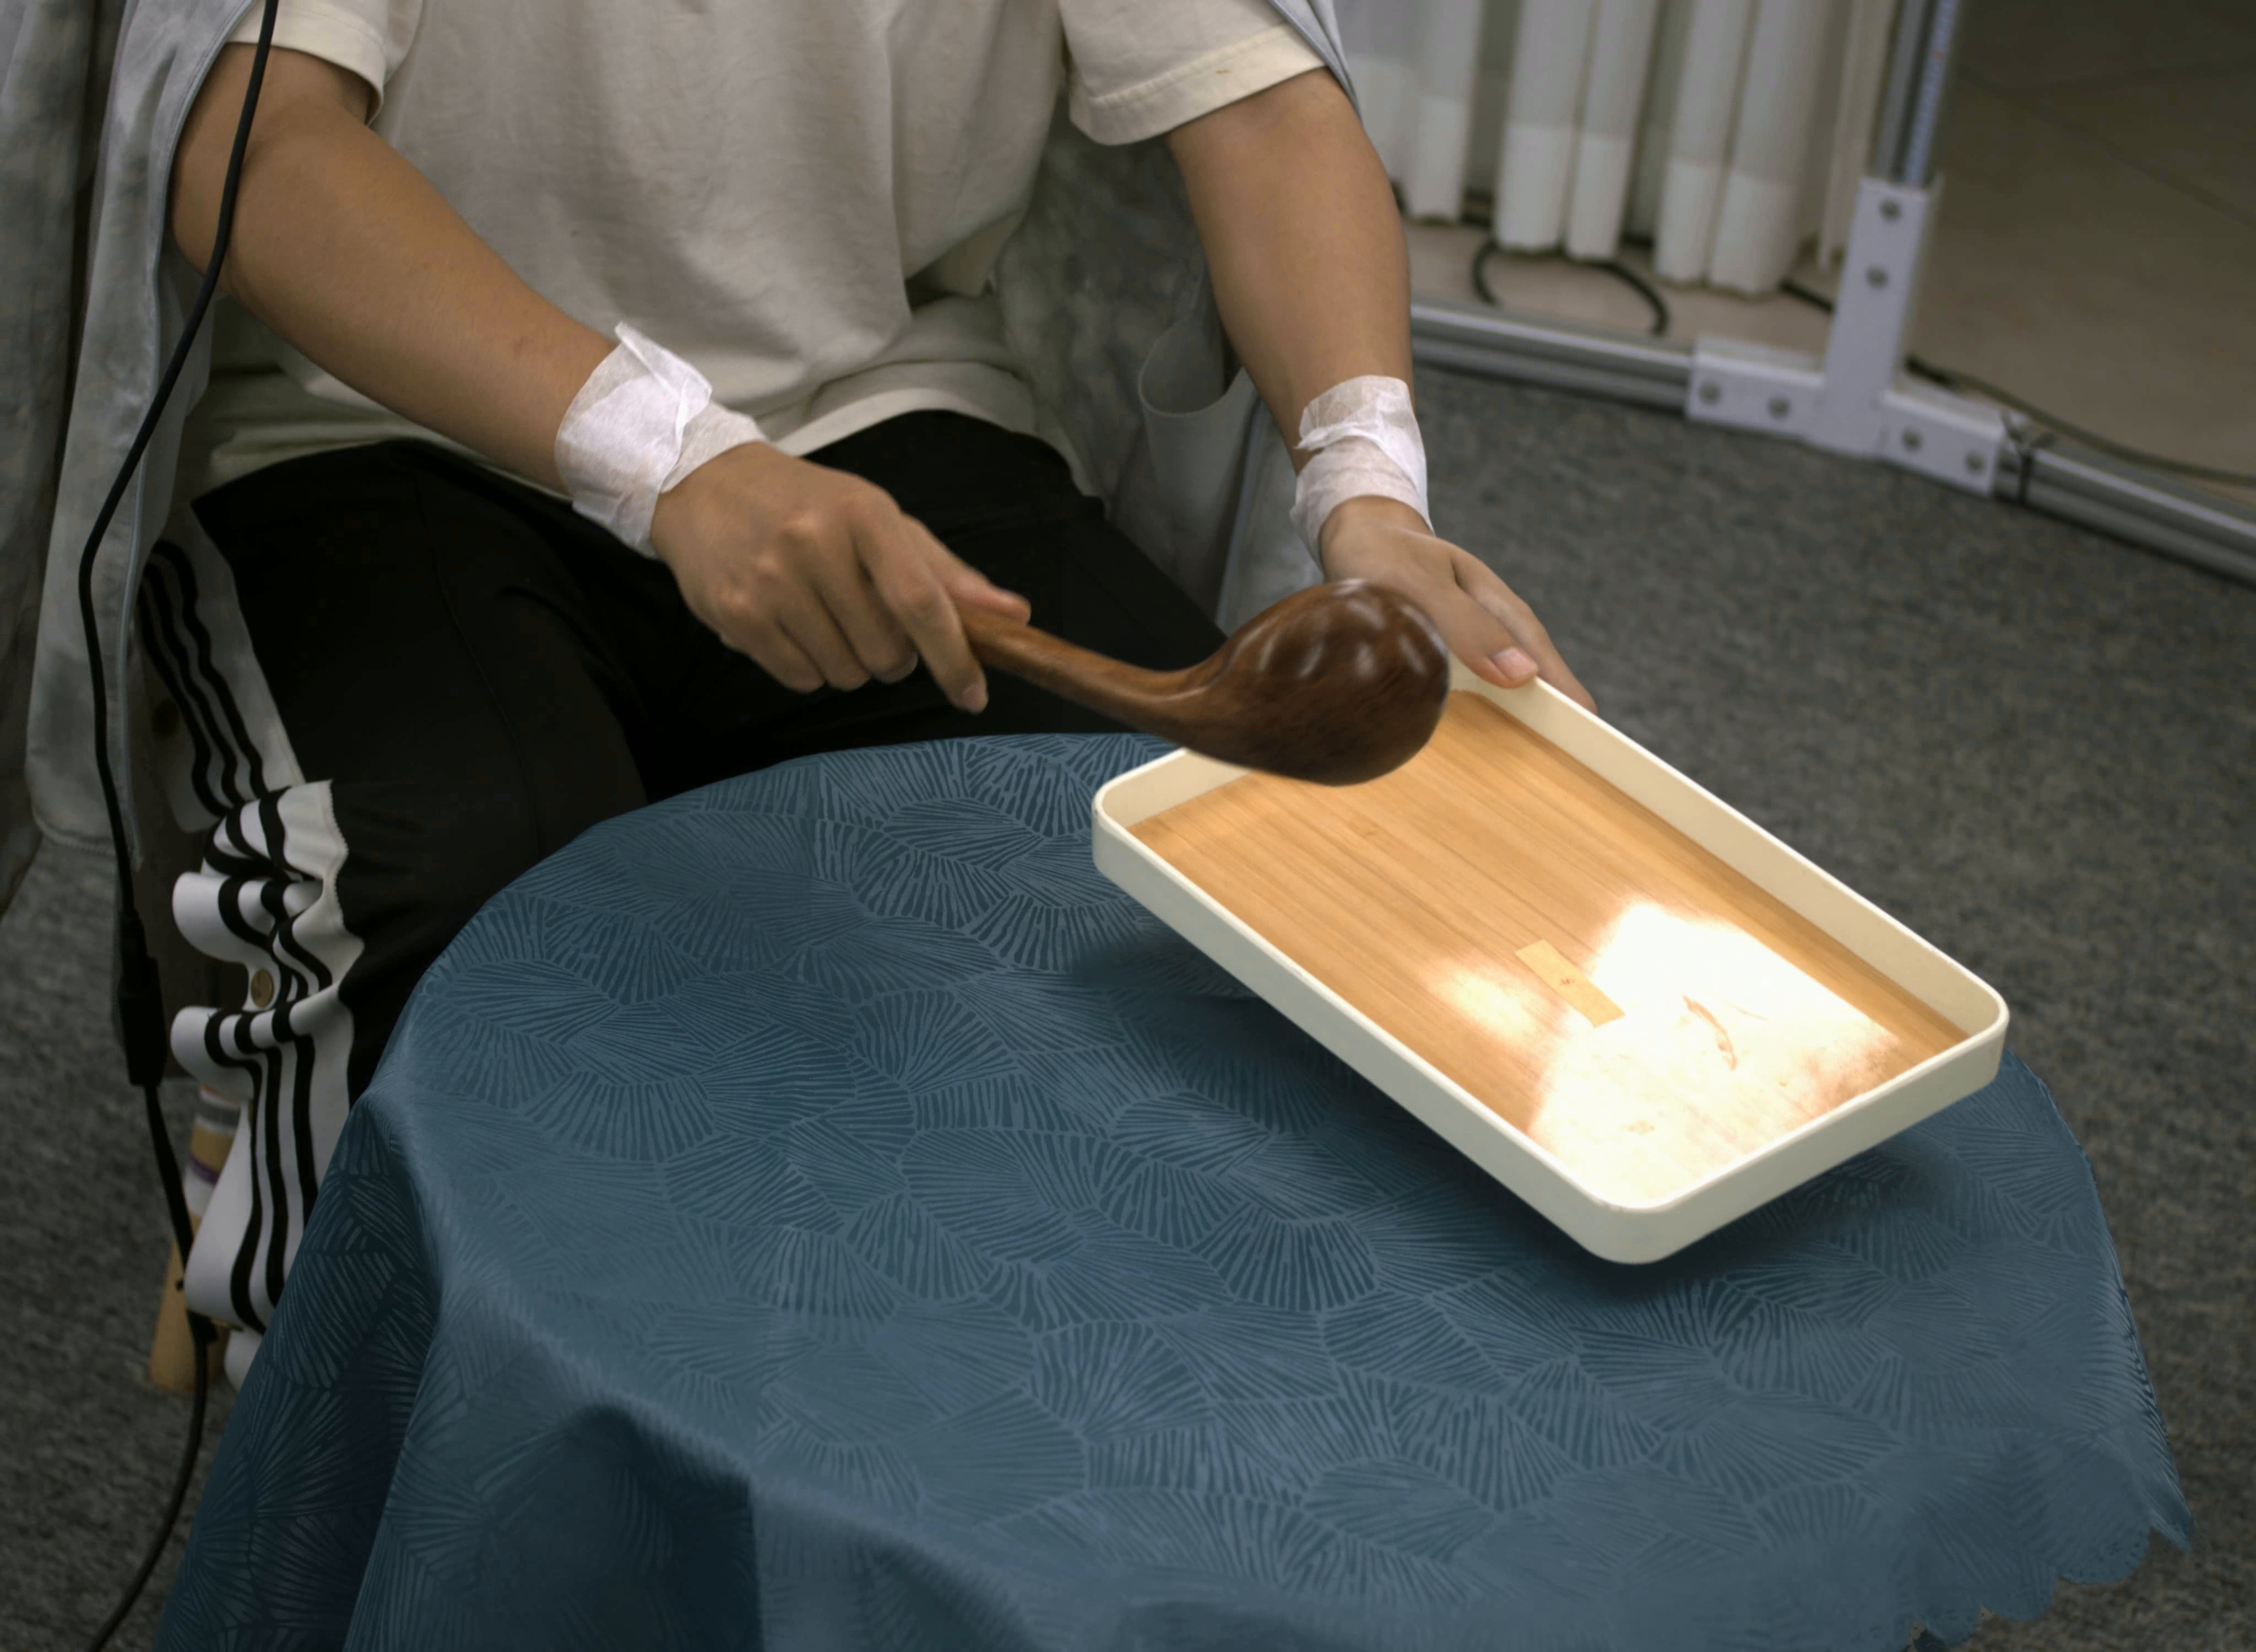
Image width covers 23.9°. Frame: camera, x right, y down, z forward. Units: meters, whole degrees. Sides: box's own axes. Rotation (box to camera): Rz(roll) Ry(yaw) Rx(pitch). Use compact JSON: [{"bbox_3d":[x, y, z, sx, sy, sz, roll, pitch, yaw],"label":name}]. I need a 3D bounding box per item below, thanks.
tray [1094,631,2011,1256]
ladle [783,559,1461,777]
[{"bbox_3d":[0.146,0.035,1.891,0.191,0.027,0.303,-24,43,-30],"label":"tray"},{"bbox_3d":[-0.004,-0.074,1.874,0.276,0.081,0.076,17,46,41],"label":"ladle"}]
